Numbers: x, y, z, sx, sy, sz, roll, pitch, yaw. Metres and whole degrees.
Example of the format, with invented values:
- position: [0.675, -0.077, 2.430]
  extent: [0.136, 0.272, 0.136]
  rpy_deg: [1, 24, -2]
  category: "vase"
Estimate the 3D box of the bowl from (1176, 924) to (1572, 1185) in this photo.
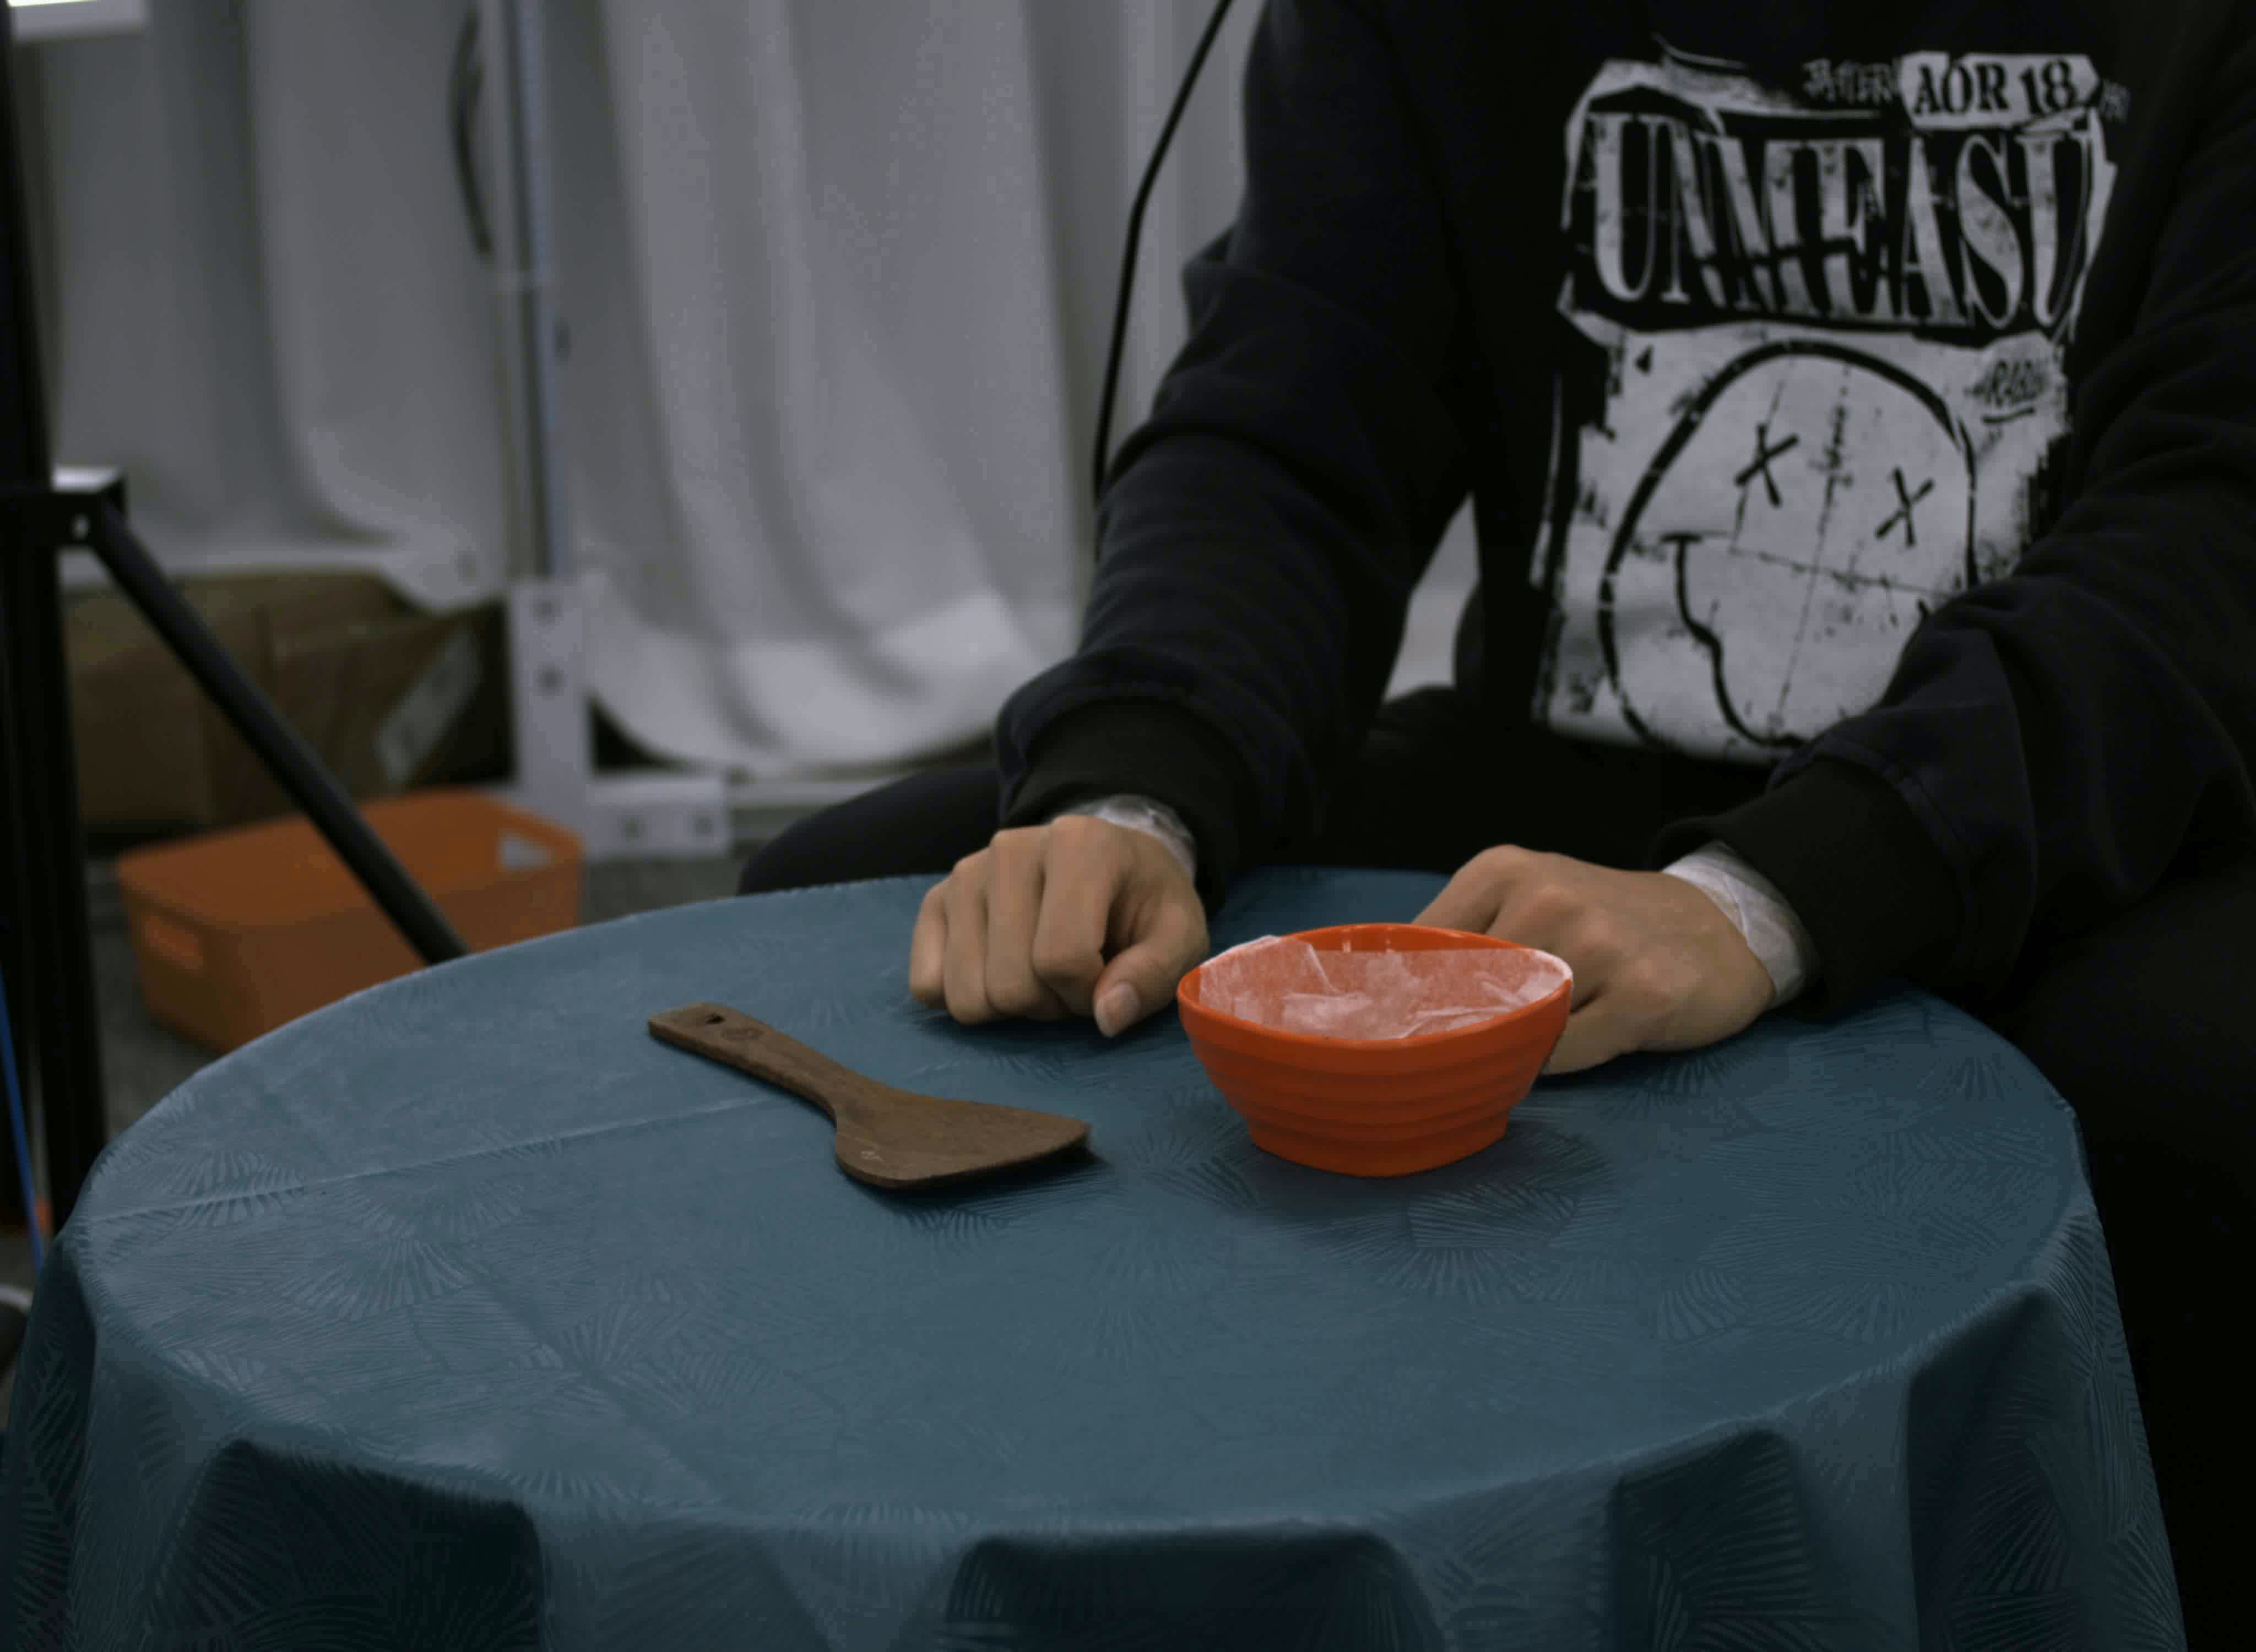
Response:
- position: [0.075, 0.071, 1.589]
  extent: [0.118, 0.051, 0.119]
  rpy_deg: [-4, 16, 0]
  category: "bowl"

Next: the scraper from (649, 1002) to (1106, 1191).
- position: [-0.089, 0.082, 1.651]
  extent: [0.074, 0.011, 0.216]
  rpy_deg: [-11, 17, -31]
  category: "scraper"
